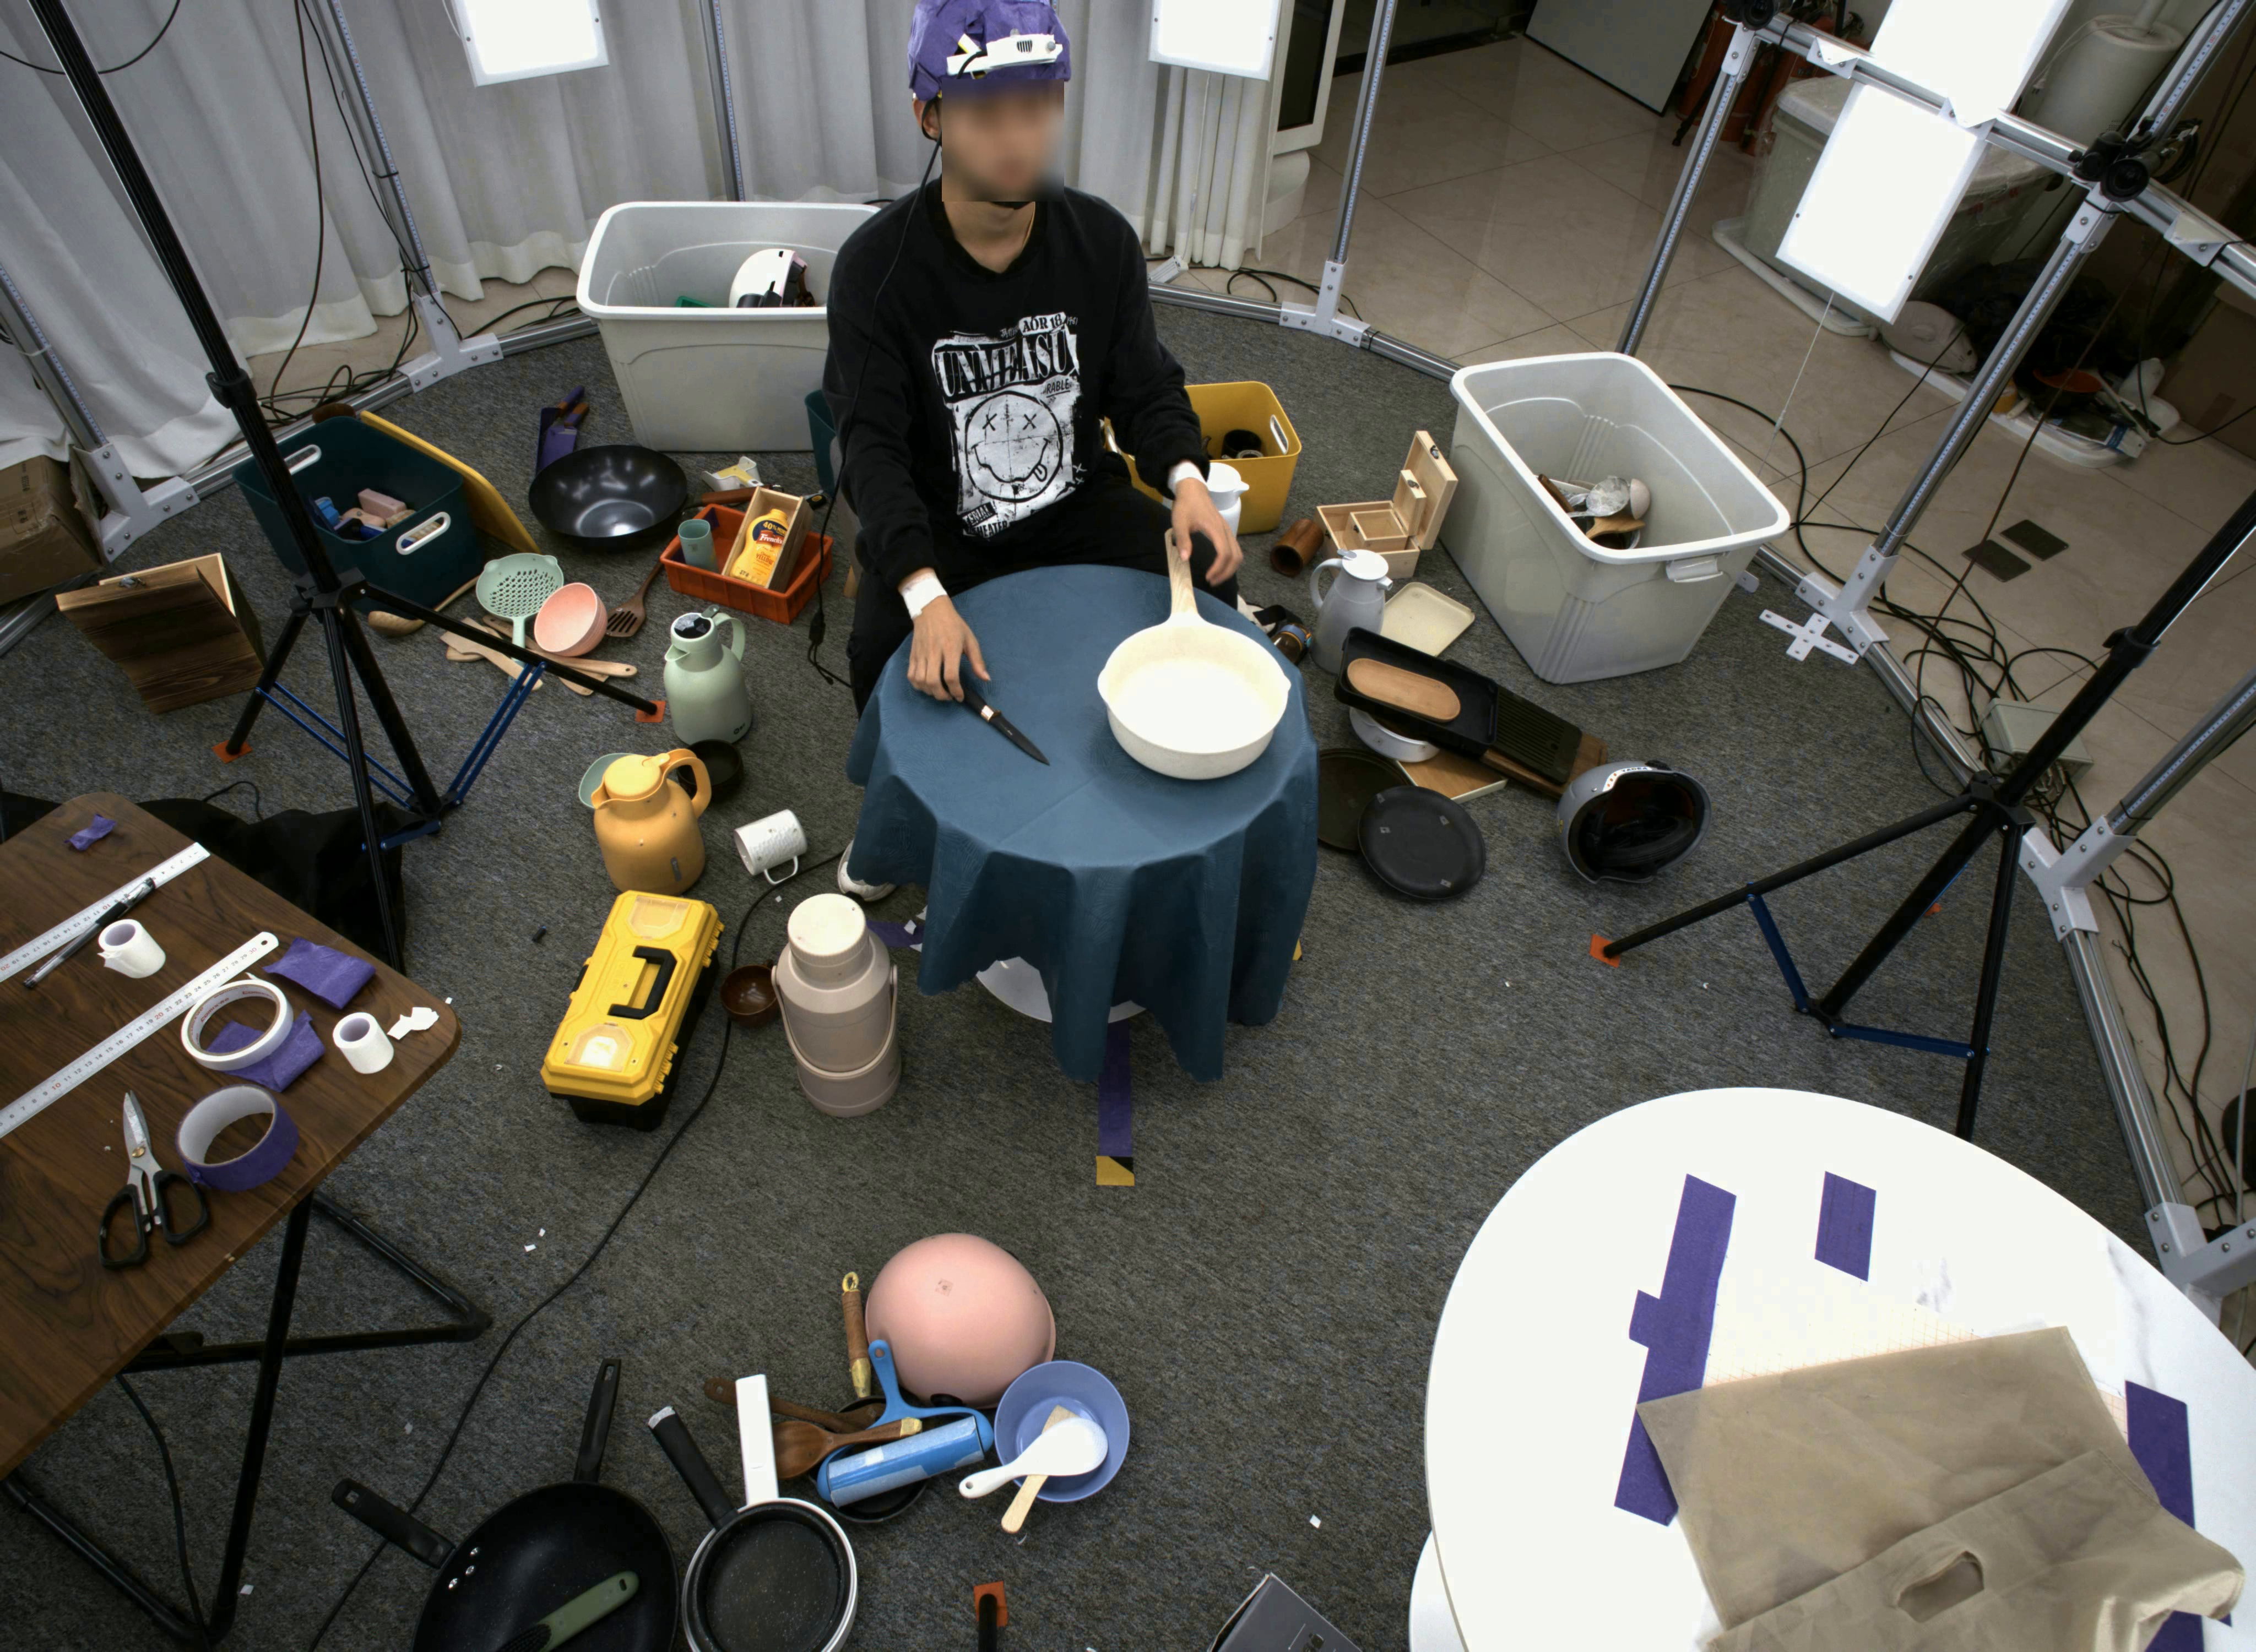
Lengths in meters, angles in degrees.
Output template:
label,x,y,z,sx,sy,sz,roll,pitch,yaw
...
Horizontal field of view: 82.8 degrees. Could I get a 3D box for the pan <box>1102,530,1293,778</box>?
label,x,y,z,sx,sy,sz,roll,pitch,yaw
pan,0.086,-0.244,1.822,0.263,0.099,0.446,-3,49,-4

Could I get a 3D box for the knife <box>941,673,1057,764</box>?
label,x,y,z,sx,sy,sz,roll,pitch,yaw
knife,-0.181,-0.149,1.782,0.229,0.017,0.026,39,41,25
